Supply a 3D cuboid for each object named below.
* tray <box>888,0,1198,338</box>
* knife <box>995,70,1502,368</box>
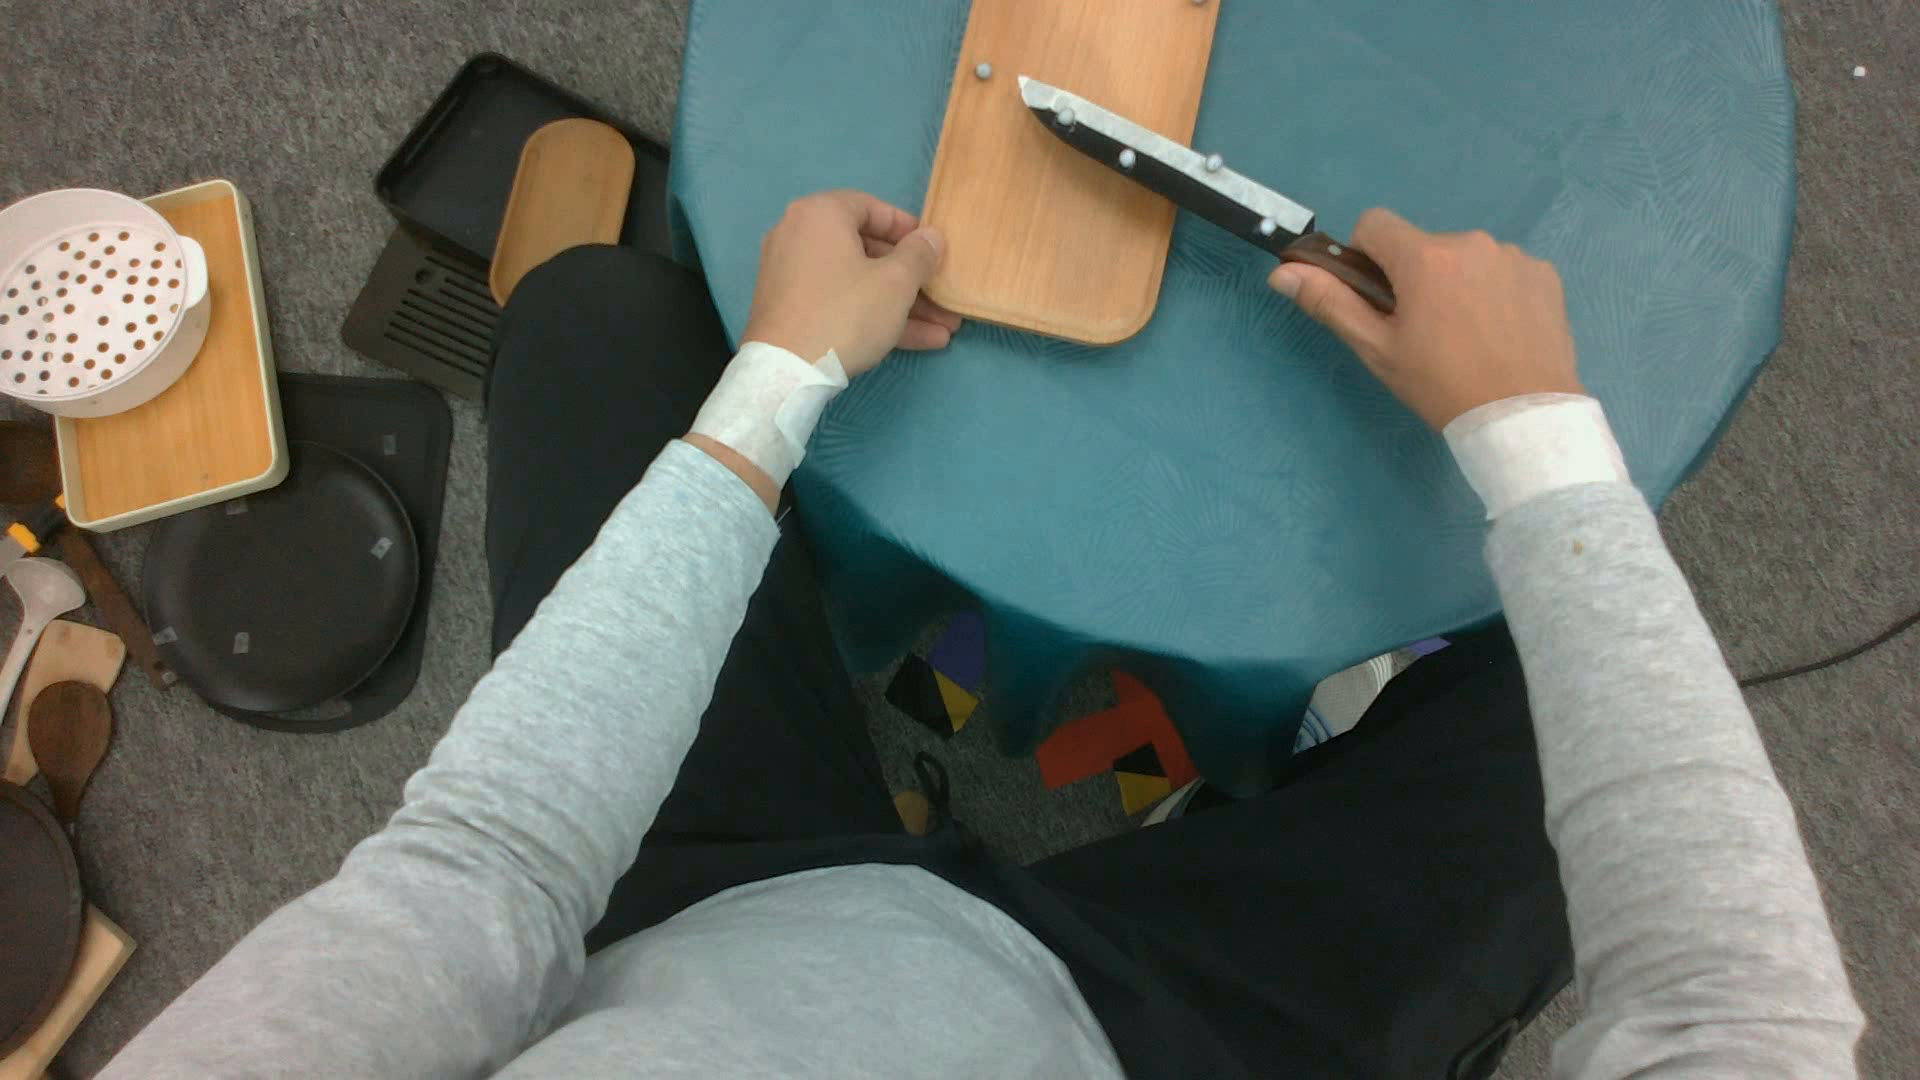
[{"bbox_3d":[0.048,-0.229,0.724,0.130,0.023,0.251,13,78,2],"label":"tray"},{"bbox_3d":[0.139,-0.165,0.687,0.289,0.020,0.050,32,50,8],"label":"knife"}]
